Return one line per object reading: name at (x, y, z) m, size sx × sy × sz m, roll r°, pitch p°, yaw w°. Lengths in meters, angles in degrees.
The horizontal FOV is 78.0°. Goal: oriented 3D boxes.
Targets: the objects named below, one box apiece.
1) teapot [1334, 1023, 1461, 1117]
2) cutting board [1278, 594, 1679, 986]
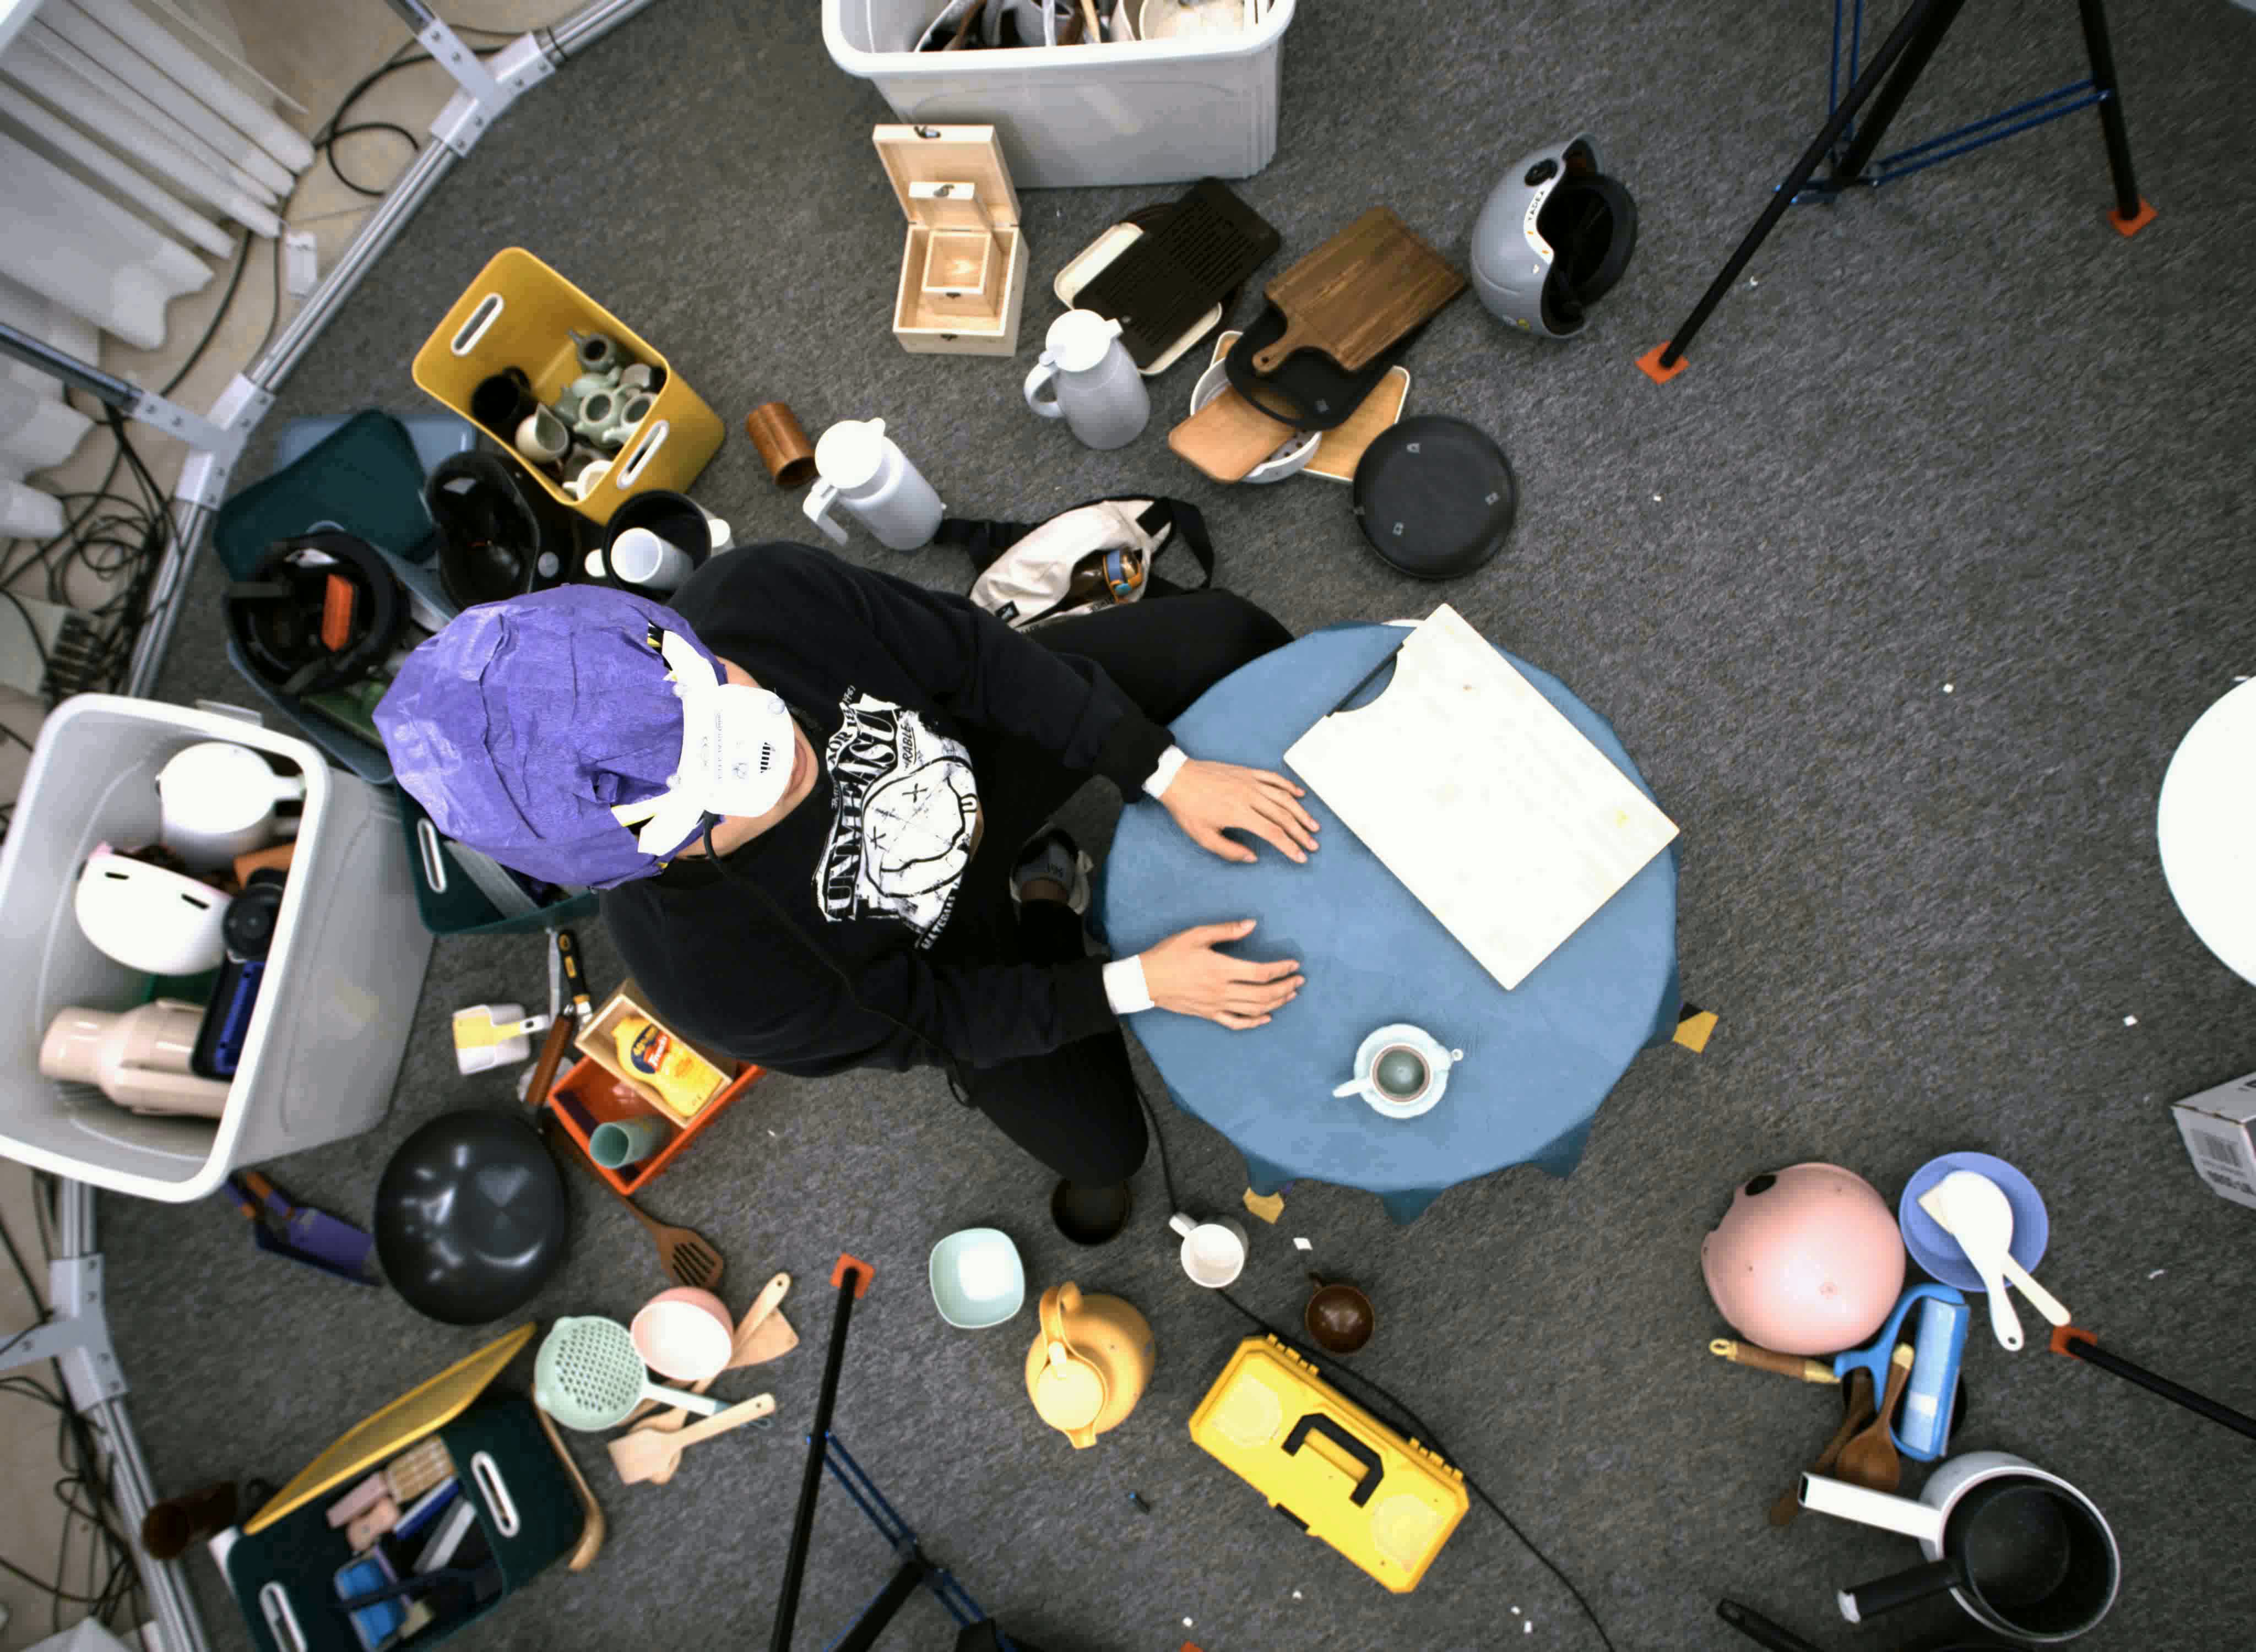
teapot at (0.276, 0.252, 1.421) m, size 0.138 × 0.061 × 0.095 m, roll -22°, pitch 84°, yaw 8°
cutting board at (0.362, -0.040, 1.441) m, size 0.252 × 0.023 × 0.347 m, roll -45°, pitch 80°, yaw 6°
